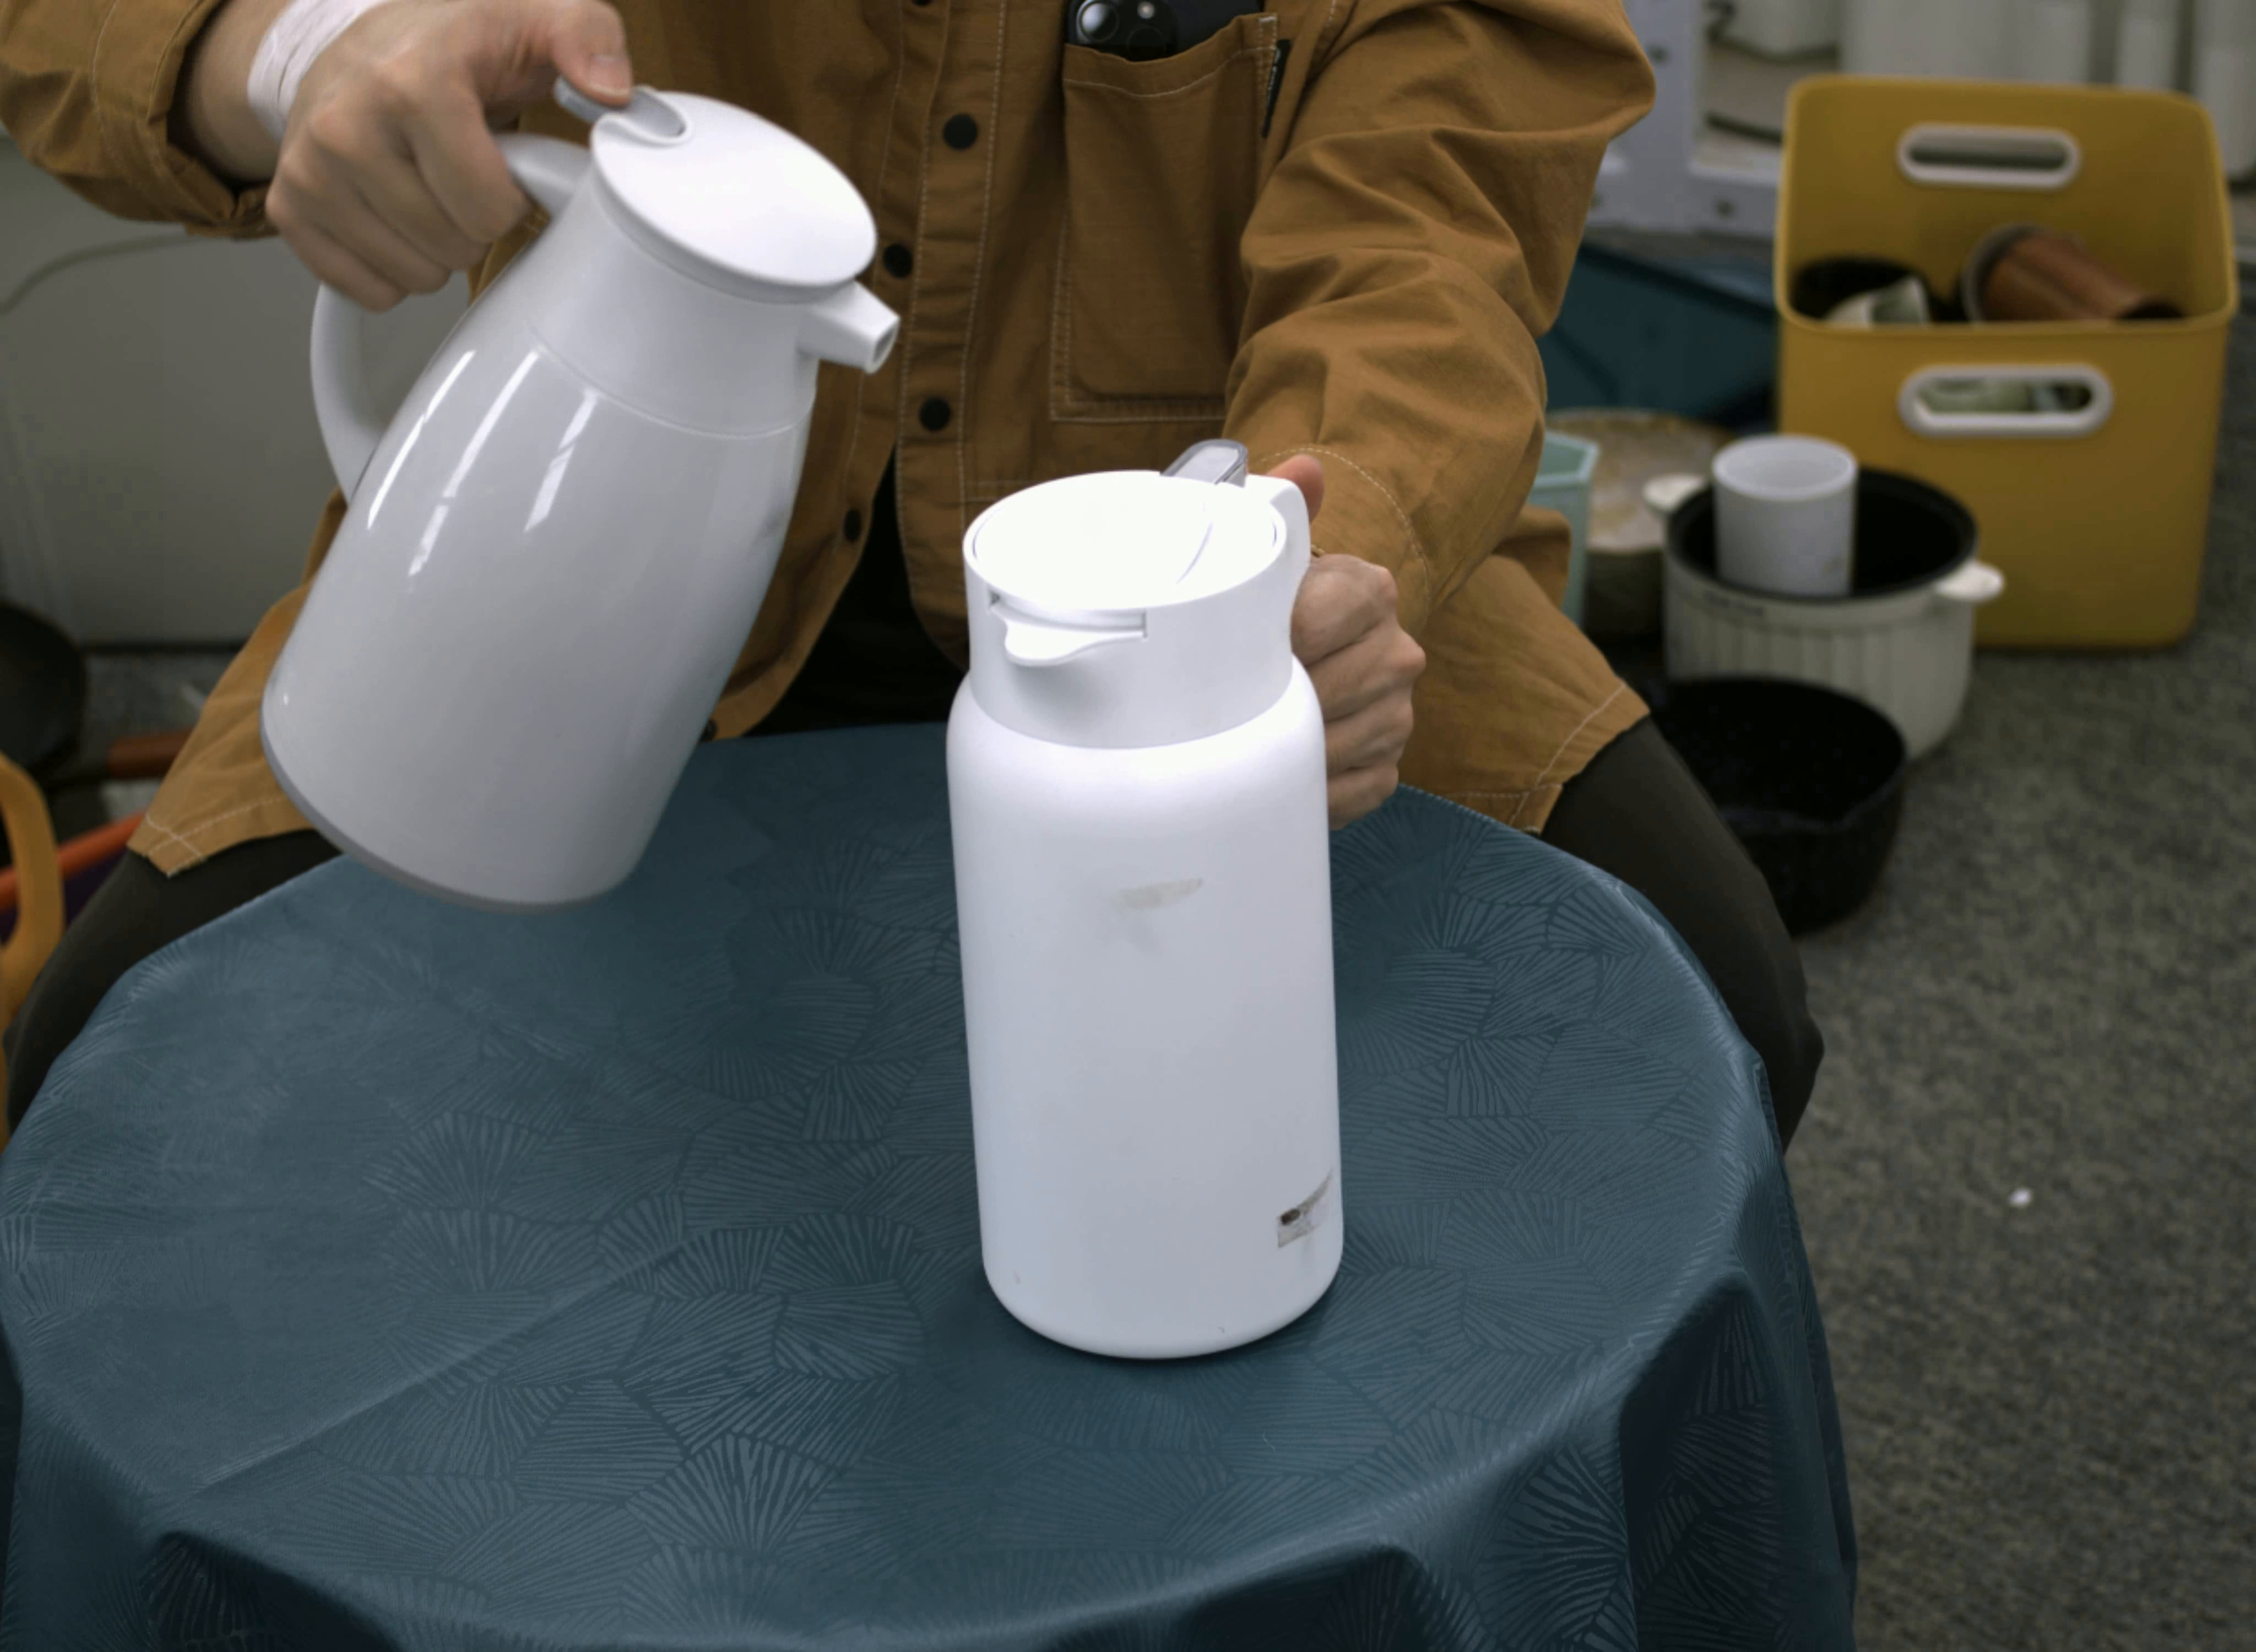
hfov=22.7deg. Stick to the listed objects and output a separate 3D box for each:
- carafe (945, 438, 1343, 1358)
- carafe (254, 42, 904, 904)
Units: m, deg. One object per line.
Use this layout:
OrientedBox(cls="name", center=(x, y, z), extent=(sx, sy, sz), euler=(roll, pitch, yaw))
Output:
OrientedBox(cls="carafe", center=(0.011, 0.019, 1.770), extent=(0.123, 0.266, 0.176), euler=(7, 28, 24))
OrientedBox(cls="carafe", center=(-0.181, -0.120, 1.739), extent=(0.167, 0.245, 0.134), euler=(32, 30, 4))
